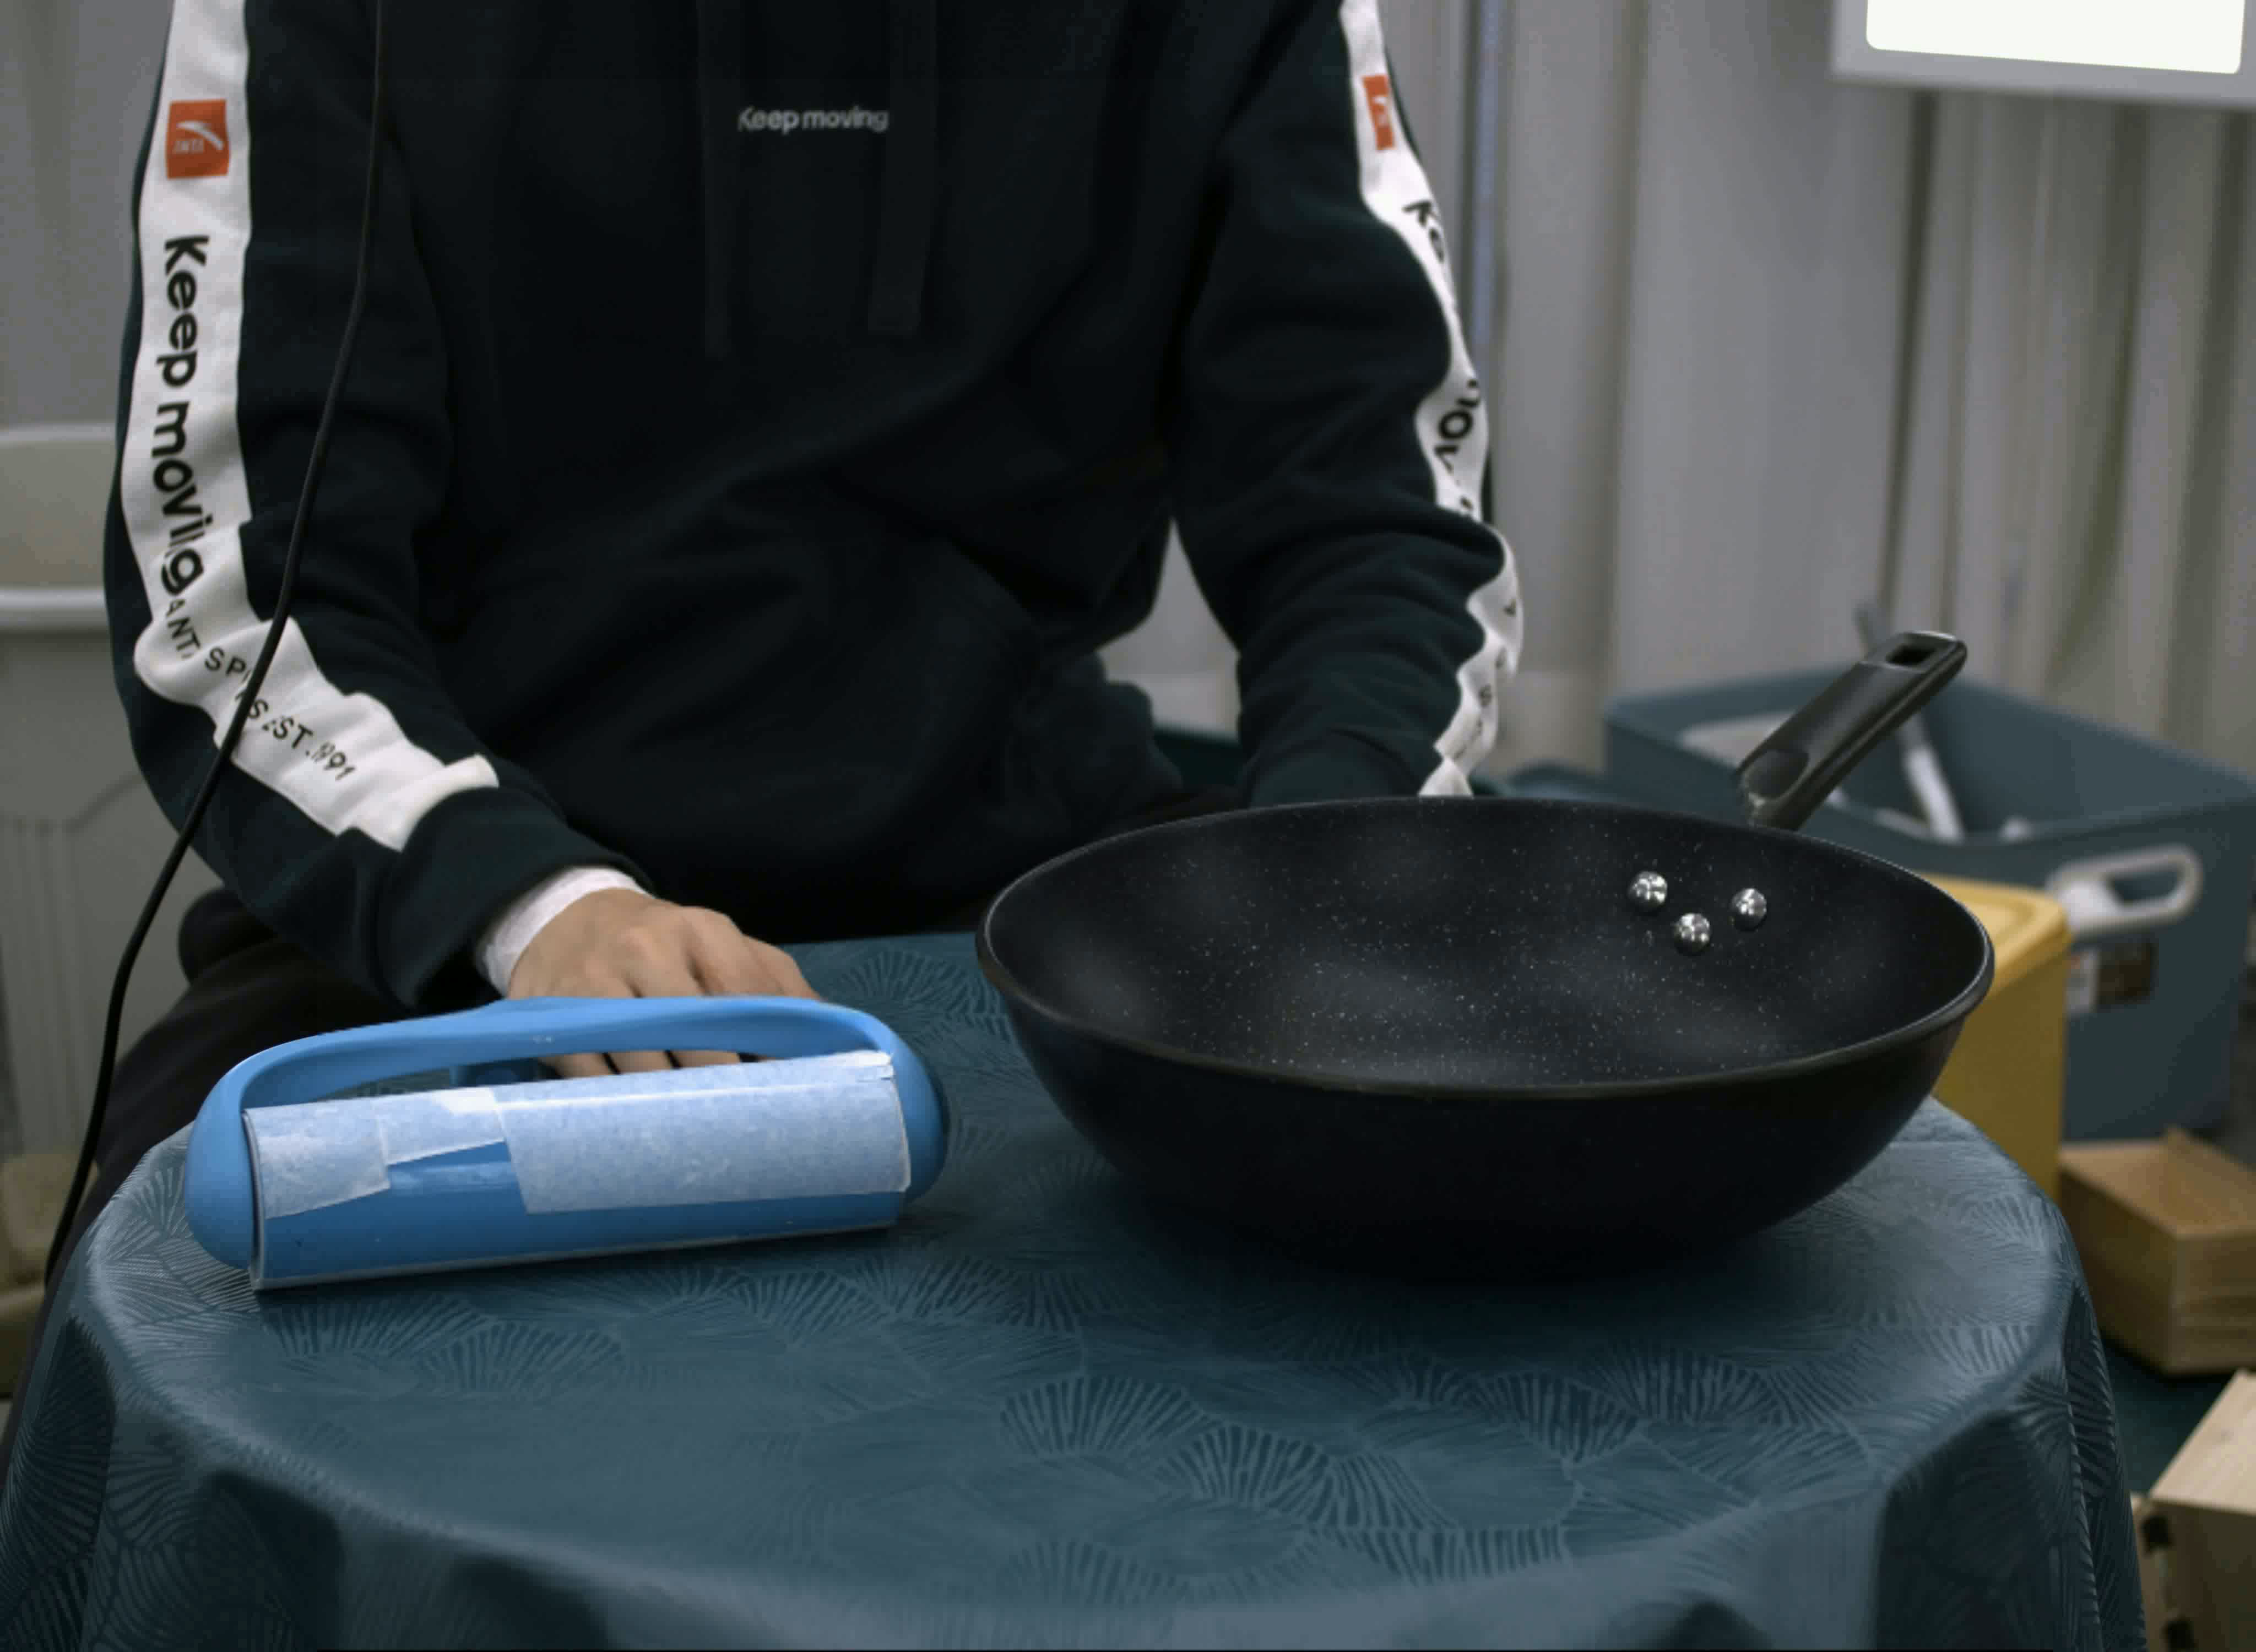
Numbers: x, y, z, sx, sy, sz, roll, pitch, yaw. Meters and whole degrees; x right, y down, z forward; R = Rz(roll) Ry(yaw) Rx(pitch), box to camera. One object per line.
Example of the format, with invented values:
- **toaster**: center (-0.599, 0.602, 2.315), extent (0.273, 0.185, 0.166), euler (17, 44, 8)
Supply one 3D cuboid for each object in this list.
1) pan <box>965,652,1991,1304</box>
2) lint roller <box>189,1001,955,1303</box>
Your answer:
- **pan**: center (0.150, 0.045, 1.666), extent (0.306, 0.112, 0.478), euler (12, 19, 30)
- **lint roller**: center (-0.182, 0.086, 1.603), extent (0.229, 0.068, 0.178), euler (-7, 17, -20)
